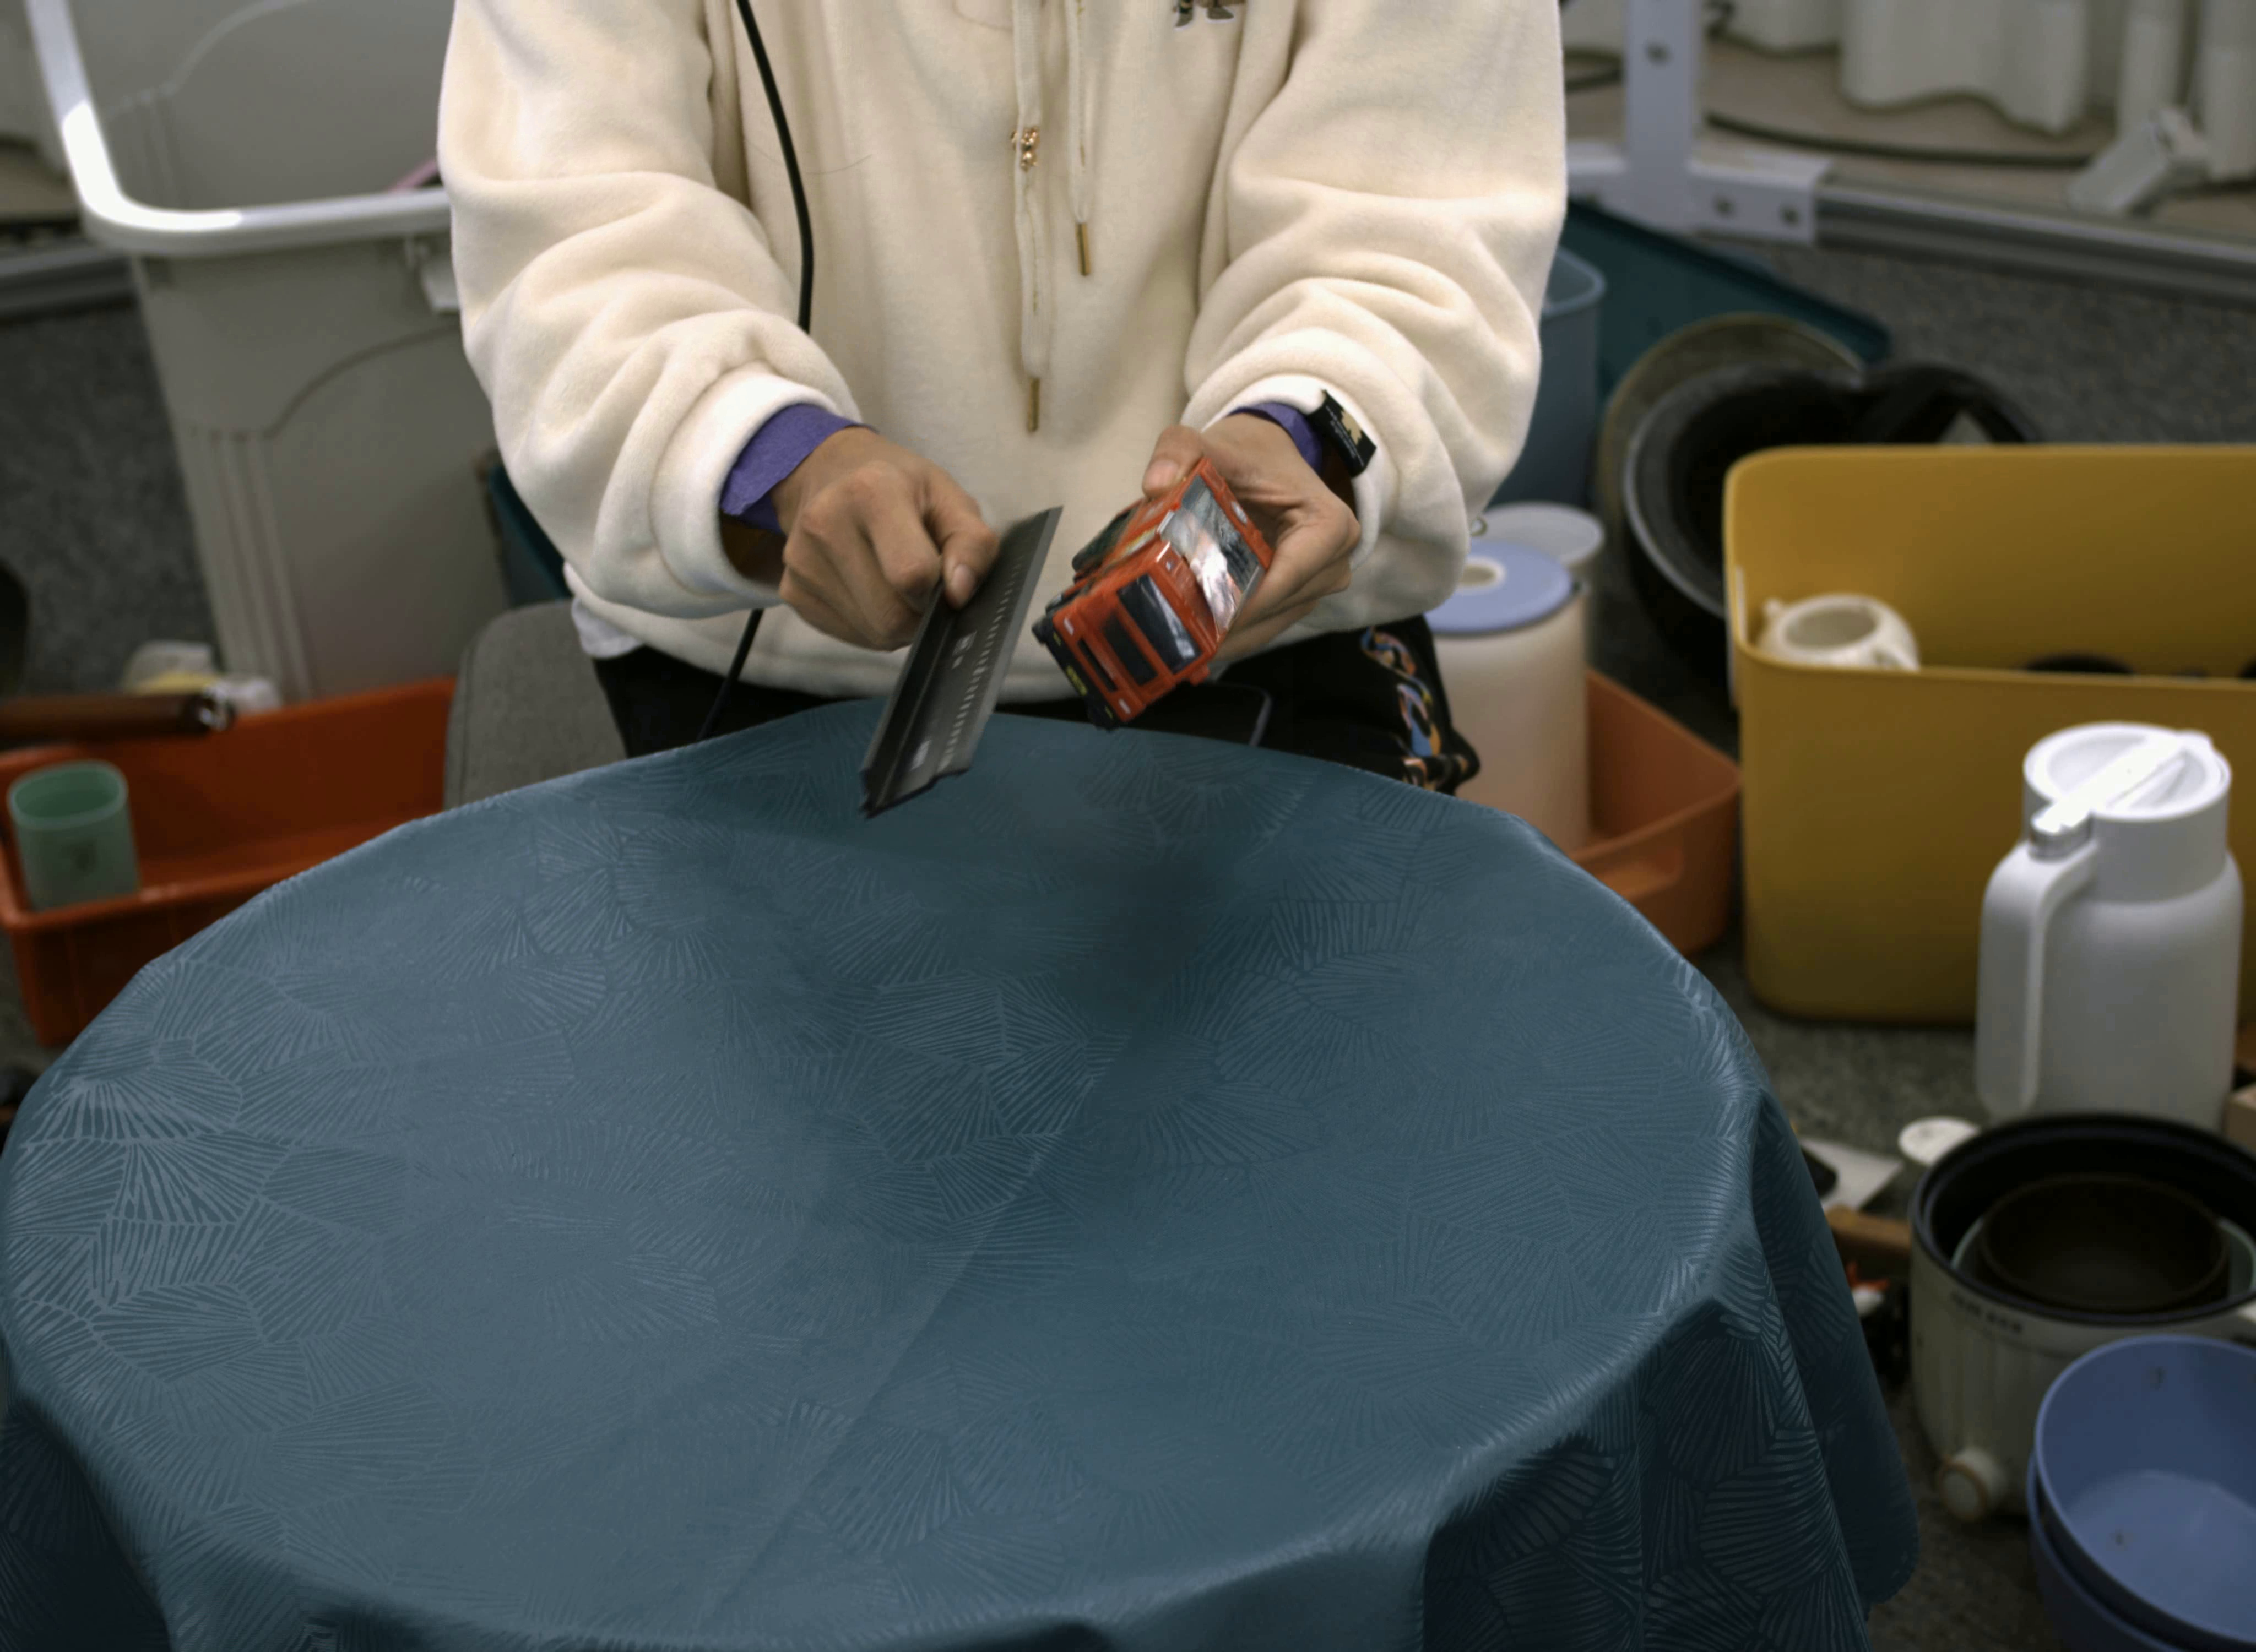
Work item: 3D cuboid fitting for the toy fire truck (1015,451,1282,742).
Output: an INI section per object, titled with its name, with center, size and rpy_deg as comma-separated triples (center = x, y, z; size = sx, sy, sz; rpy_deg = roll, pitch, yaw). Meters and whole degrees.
[toy fire truck]
center = 0.011, -0.081, 1.928
size = 0.069, 0.054, 0.169
rpy_deg = -33, 8, 14

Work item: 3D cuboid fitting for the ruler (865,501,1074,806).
[ruler]
center = -0.053, -0.067, 1.889
size = 0.039, 0.017, 0.316
rpy_deg = -23, 14, 12
